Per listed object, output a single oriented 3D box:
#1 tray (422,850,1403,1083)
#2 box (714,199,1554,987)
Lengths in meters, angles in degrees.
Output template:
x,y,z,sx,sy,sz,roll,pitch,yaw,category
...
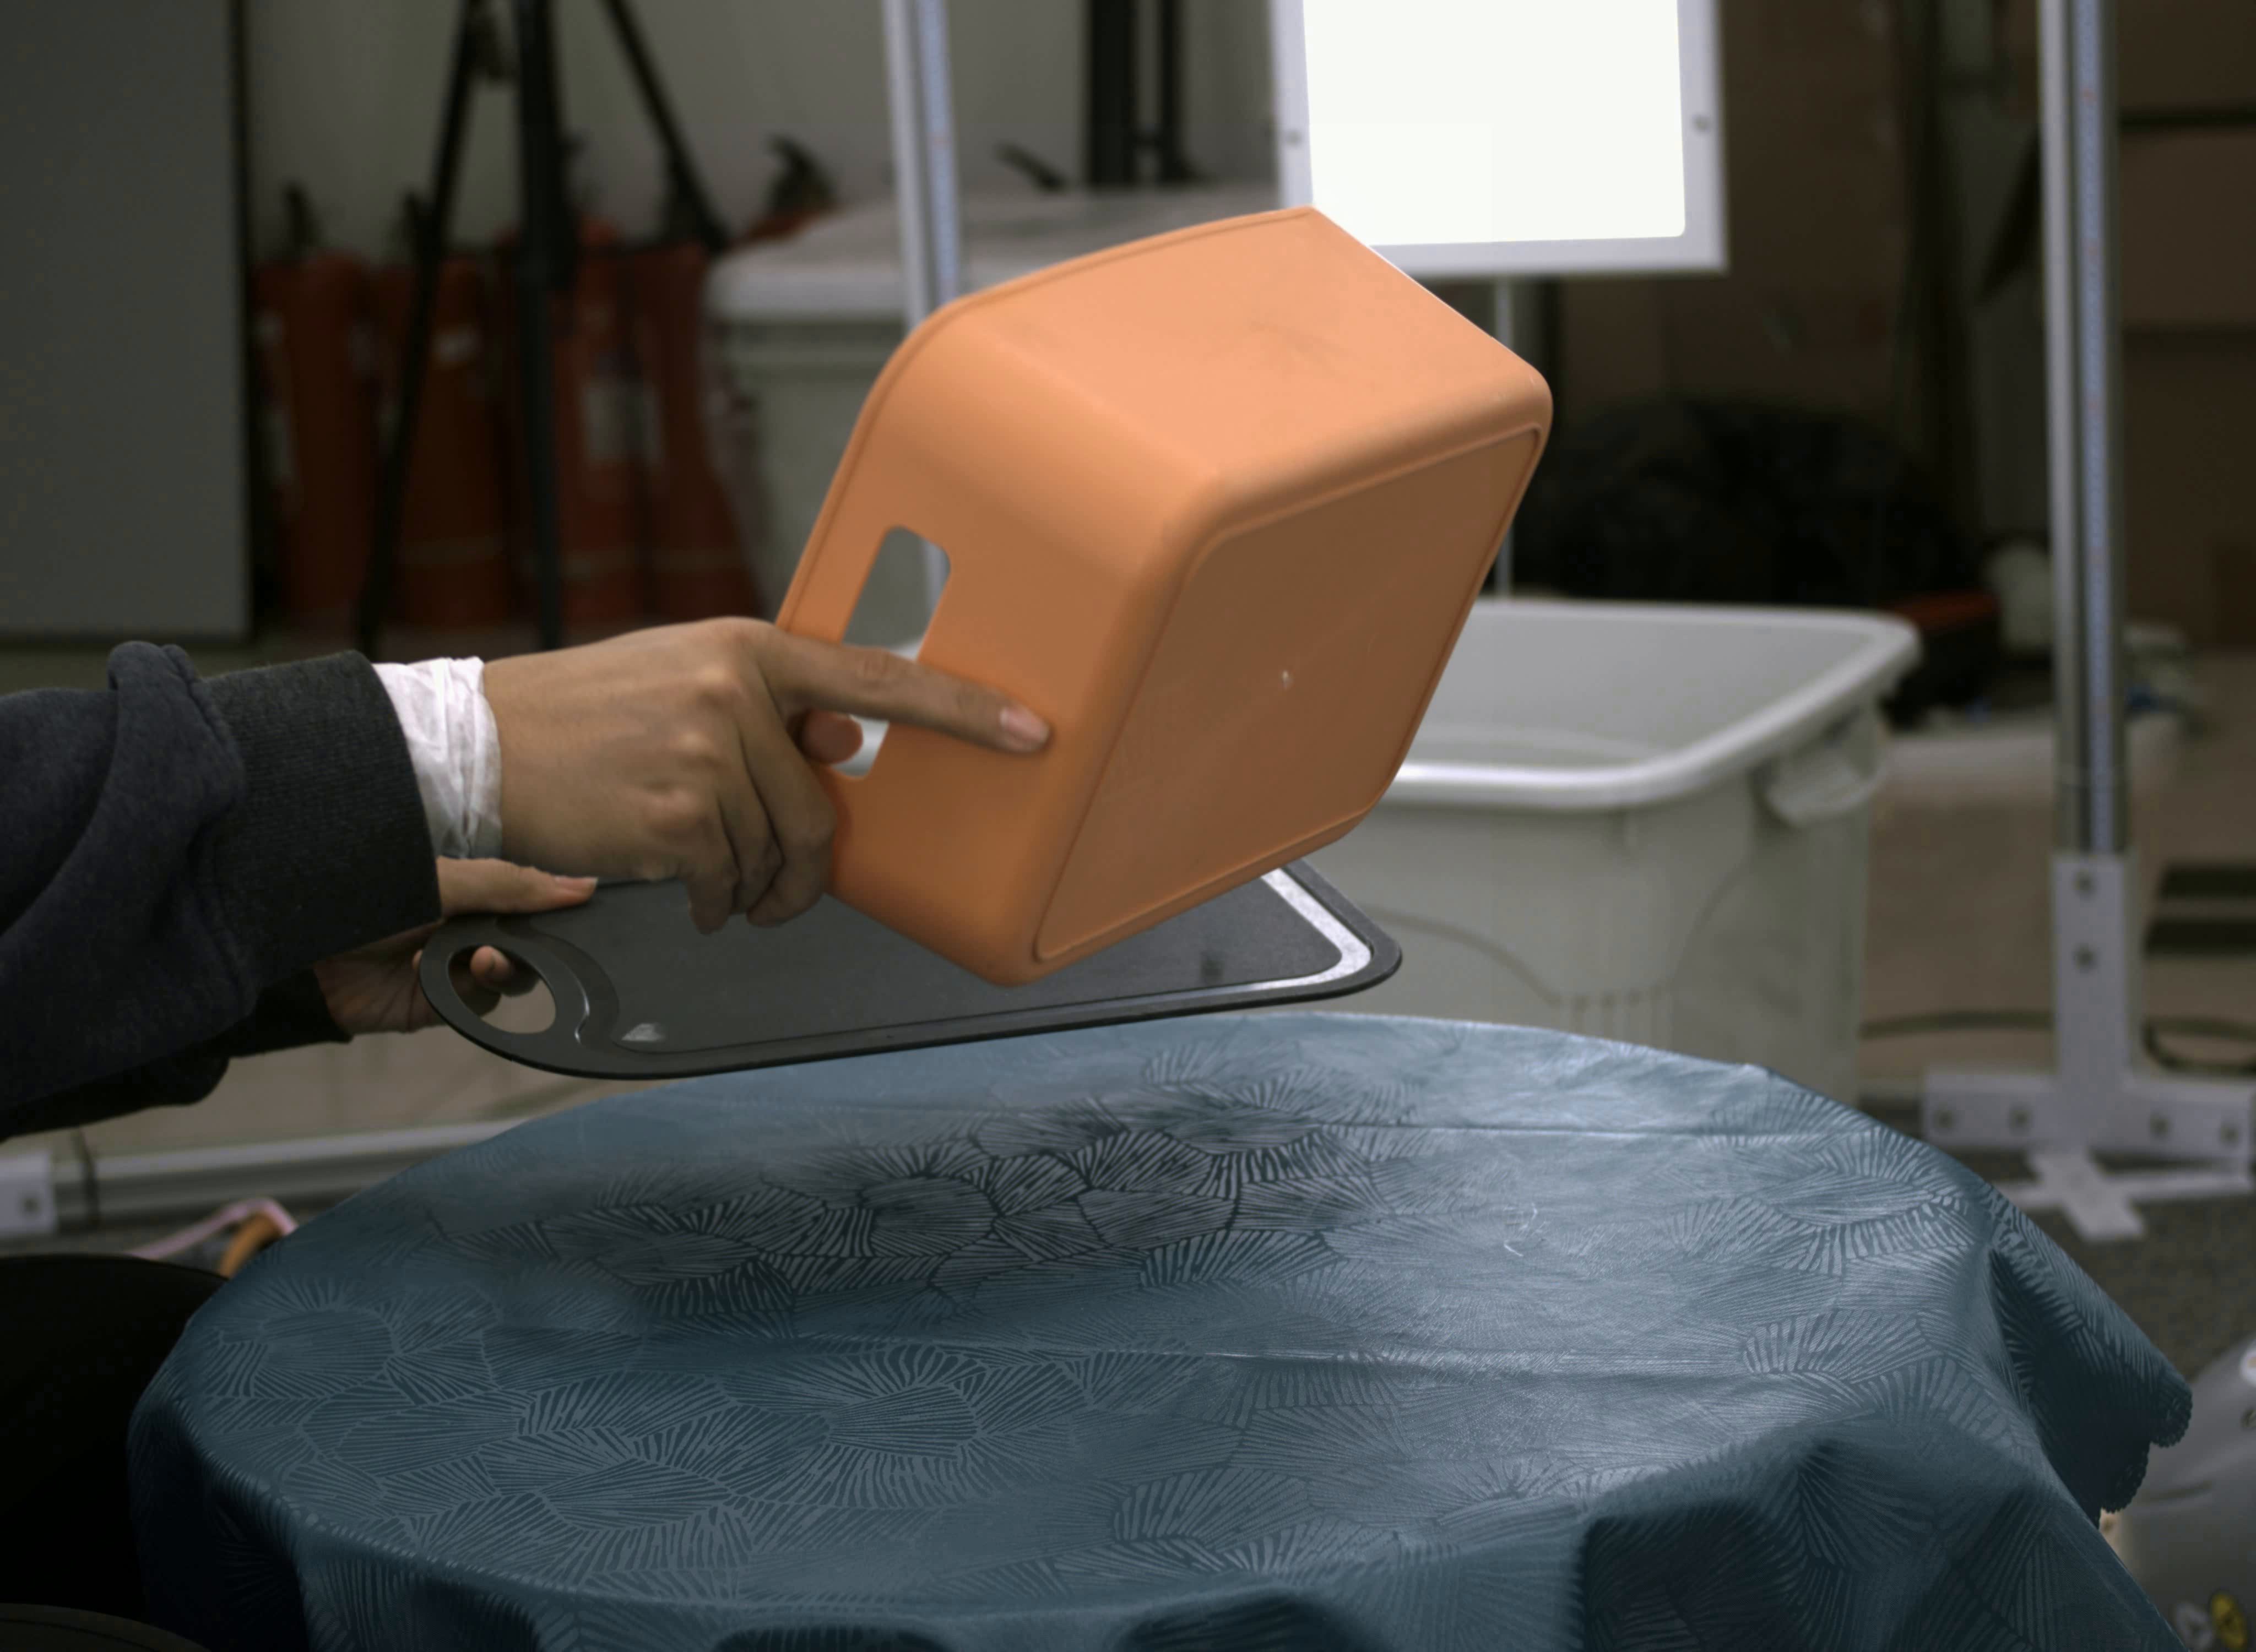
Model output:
x,y,z,sx,sy,sz,roll,pitch,yaw,category
-0.079,0.039,1.893,0.320,0.010,0.213,-7,19,-15,tray
0.011,-0.067,1.643,0.103,0.202,0.267,34,29,21,box
